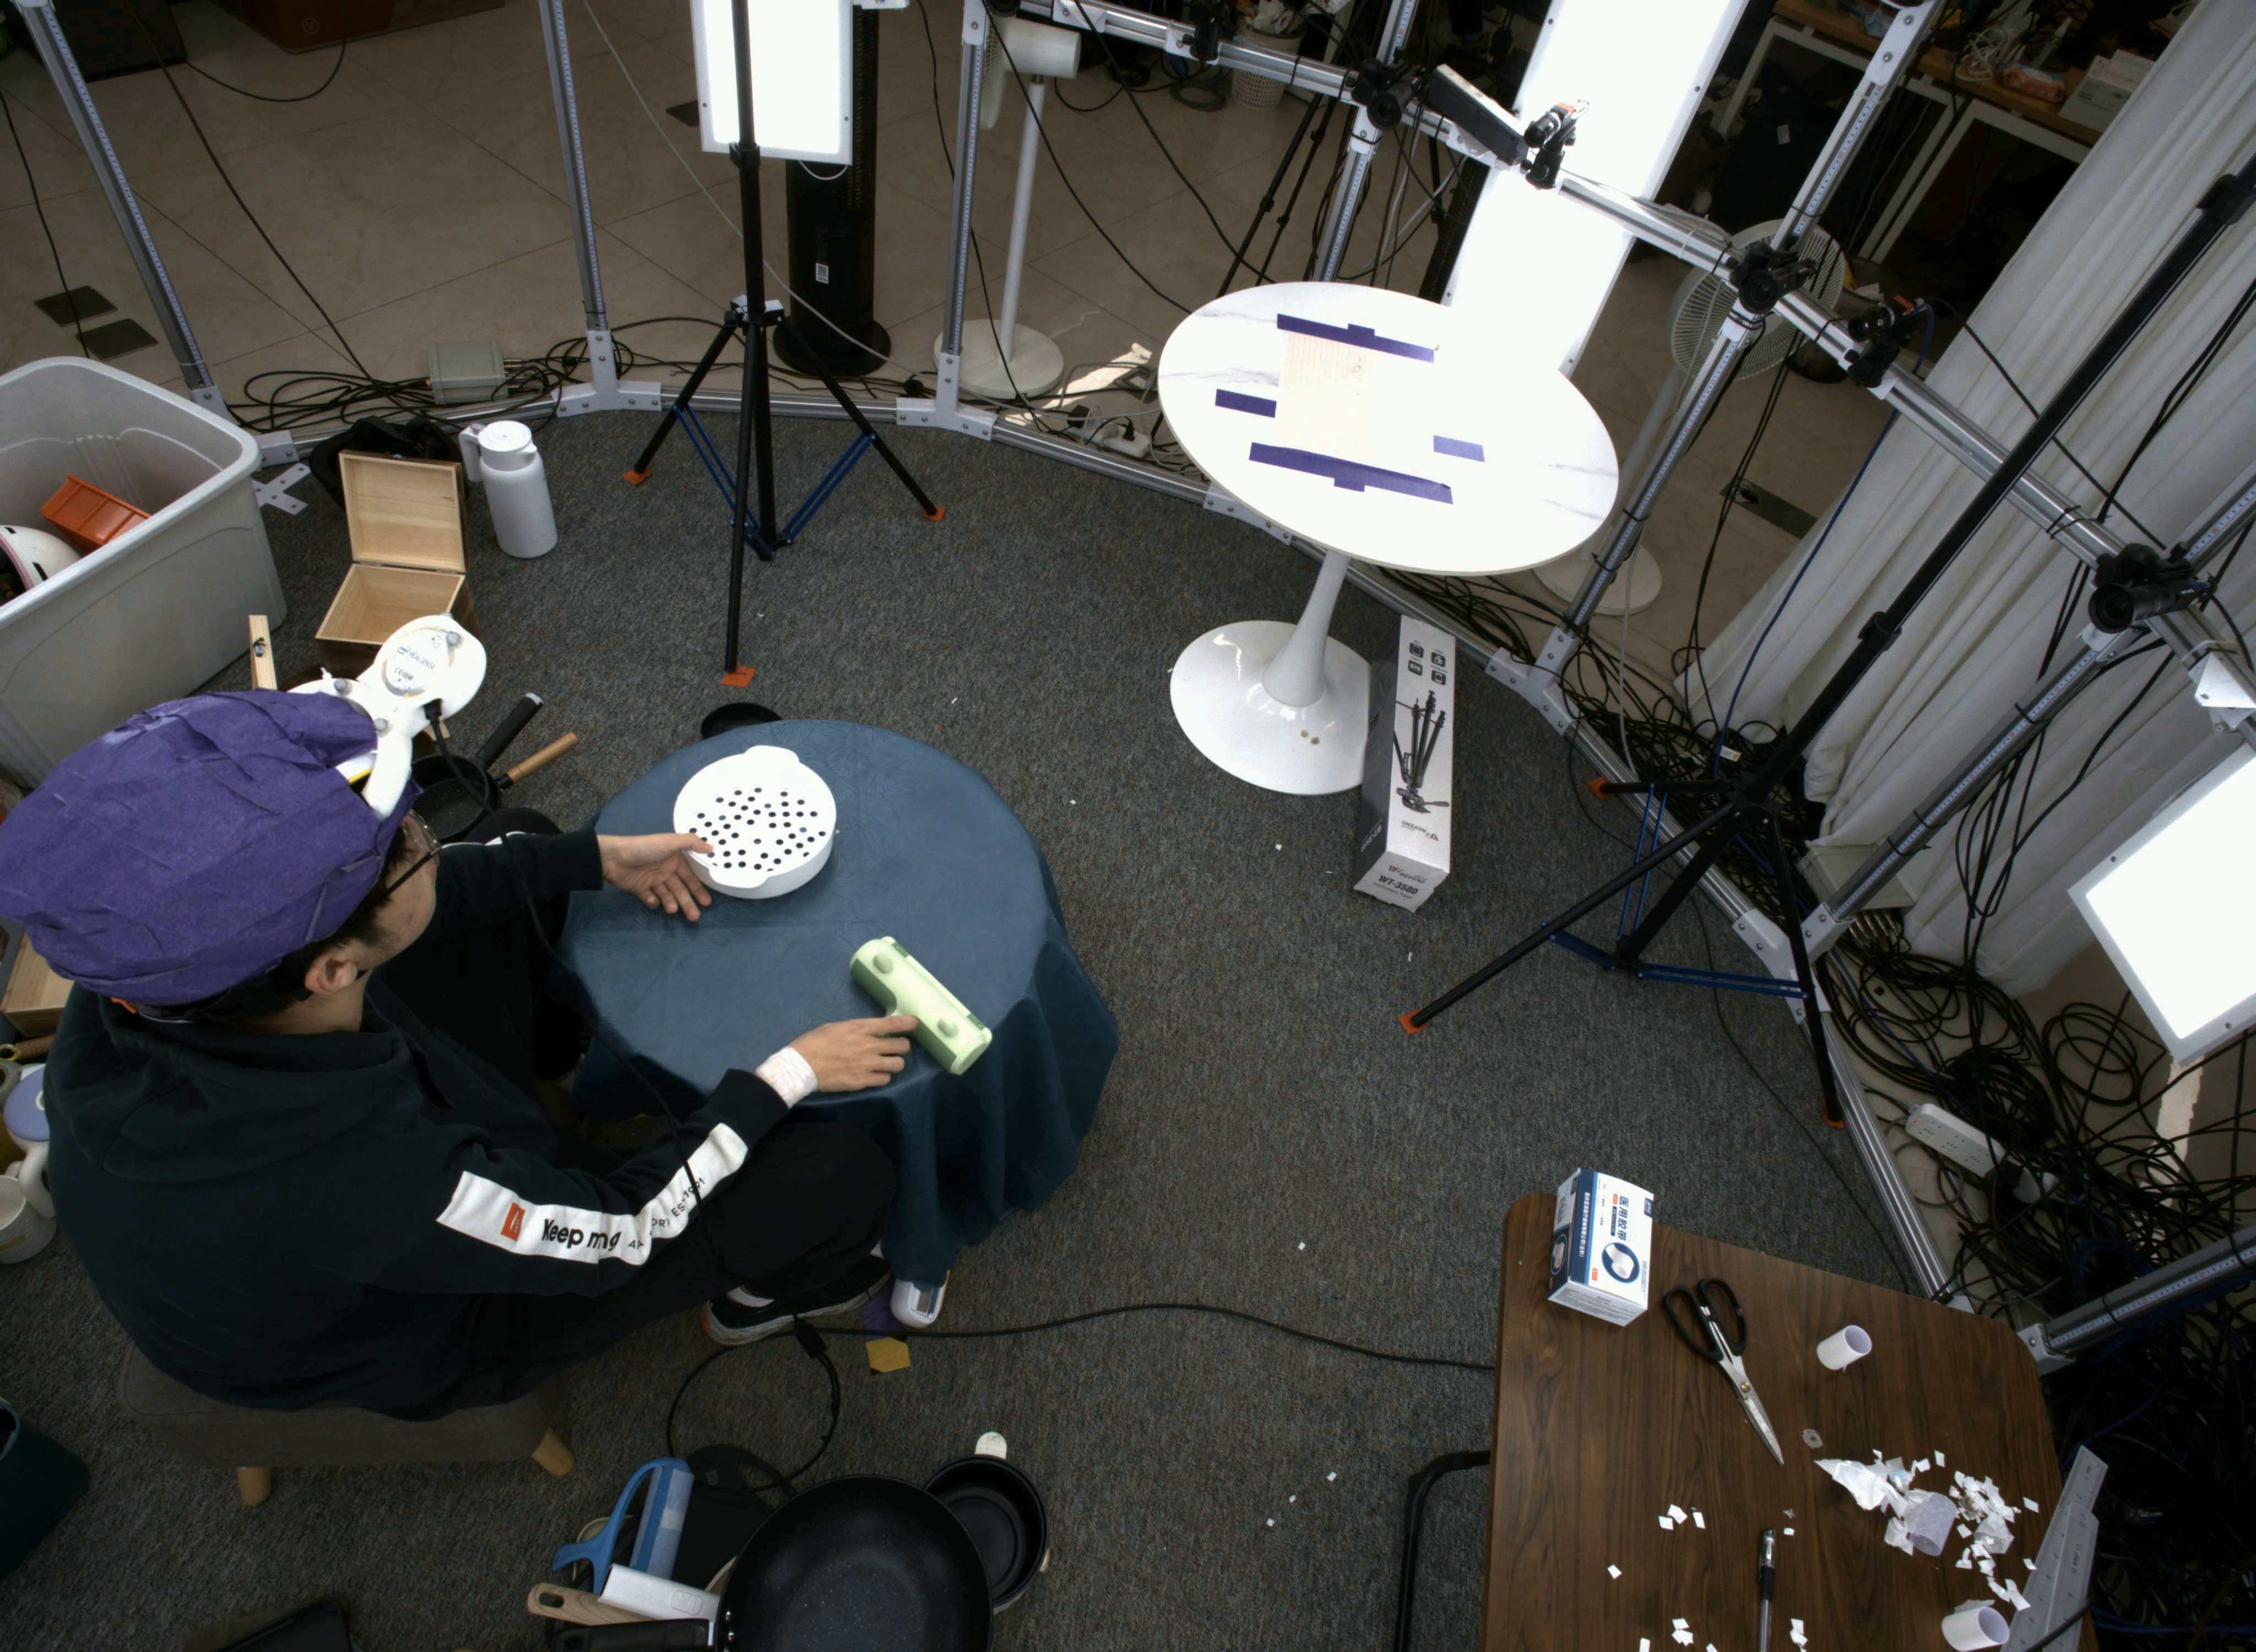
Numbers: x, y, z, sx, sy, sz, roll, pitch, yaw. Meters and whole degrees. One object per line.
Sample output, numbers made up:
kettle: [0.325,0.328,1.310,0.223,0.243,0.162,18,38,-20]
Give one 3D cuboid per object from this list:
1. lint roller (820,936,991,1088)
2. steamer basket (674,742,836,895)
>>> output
lint roller: [-0.291,0.235,1.541,0.194,0.084,0.184,41,51,16]
steamer basket: [-0.481,-0.005,1.674,0.201,0.070,0.226,9,51,-9]
